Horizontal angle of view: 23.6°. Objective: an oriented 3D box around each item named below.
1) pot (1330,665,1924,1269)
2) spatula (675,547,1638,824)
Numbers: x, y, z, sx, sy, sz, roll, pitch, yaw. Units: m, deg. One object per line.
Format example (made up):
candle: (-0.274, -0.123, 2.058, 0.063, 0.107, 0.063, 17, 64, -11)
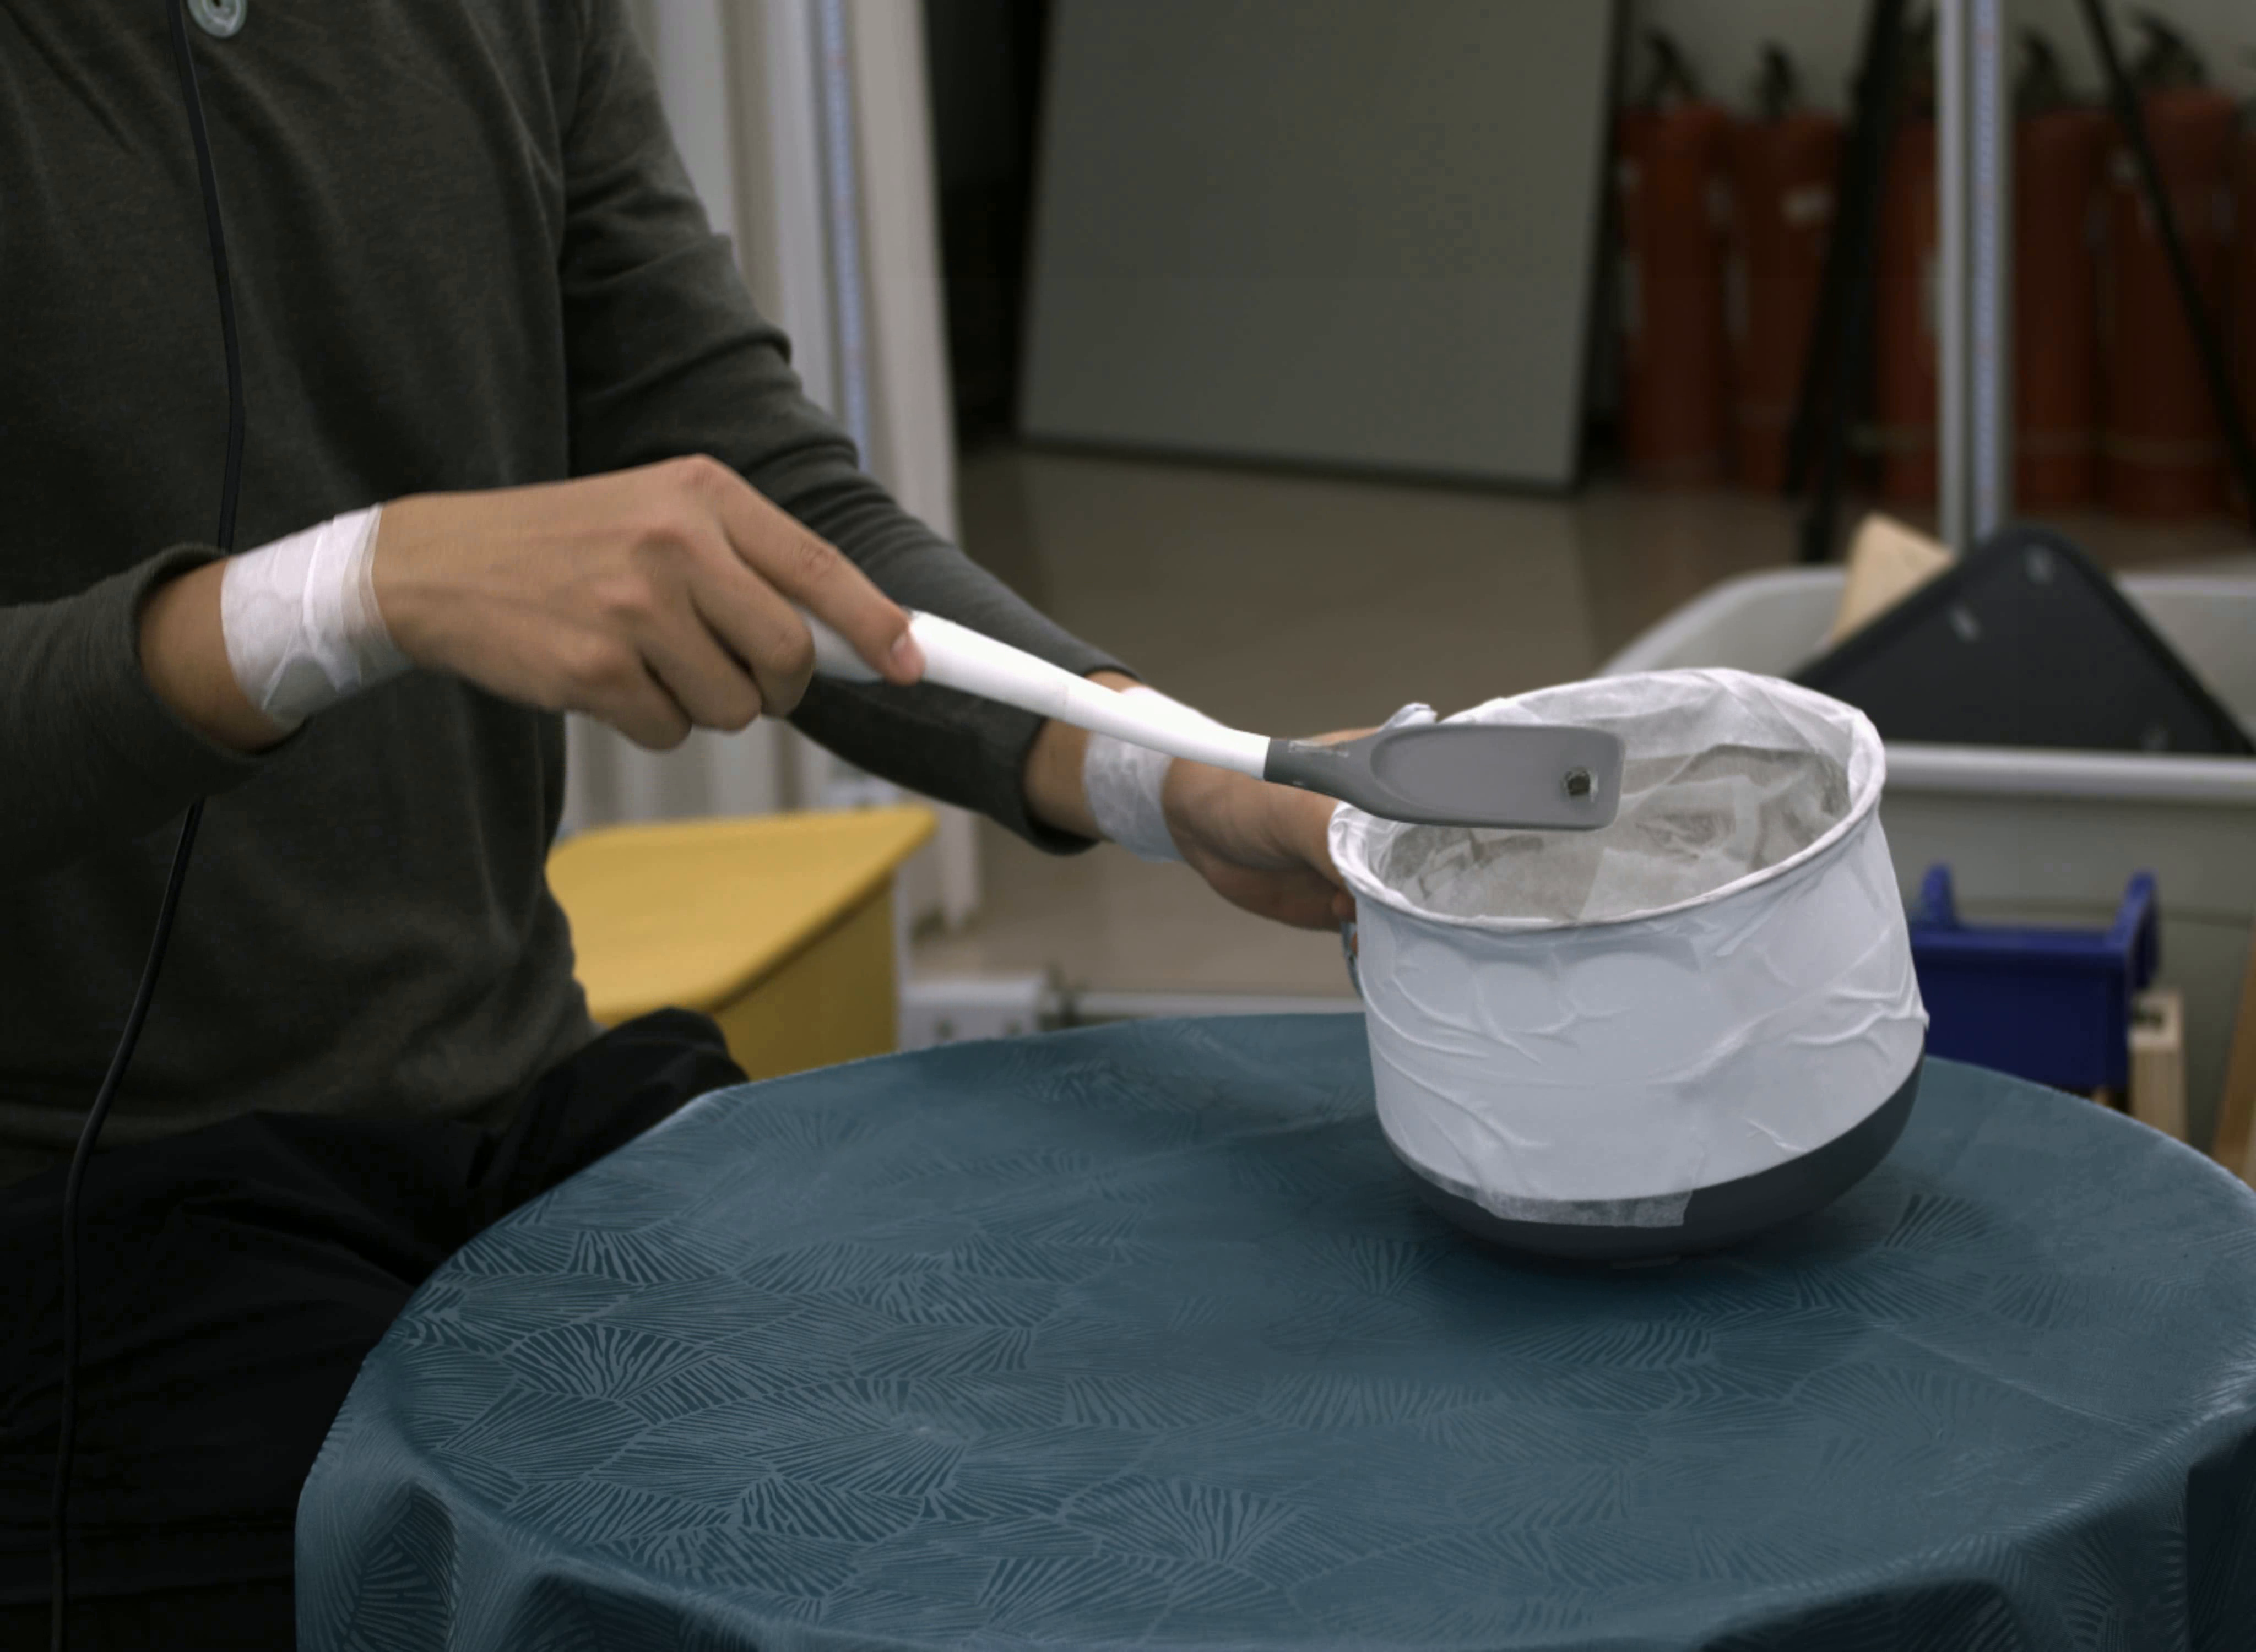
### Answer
pot: (0.144, 0.038, 1.717, 0.175, 0.137, 0.236, -24, 26, -28)
spatula: (0.008, -0.039, 1.587, 0.284, 0.032, 0.059, 11, 37, 4)
